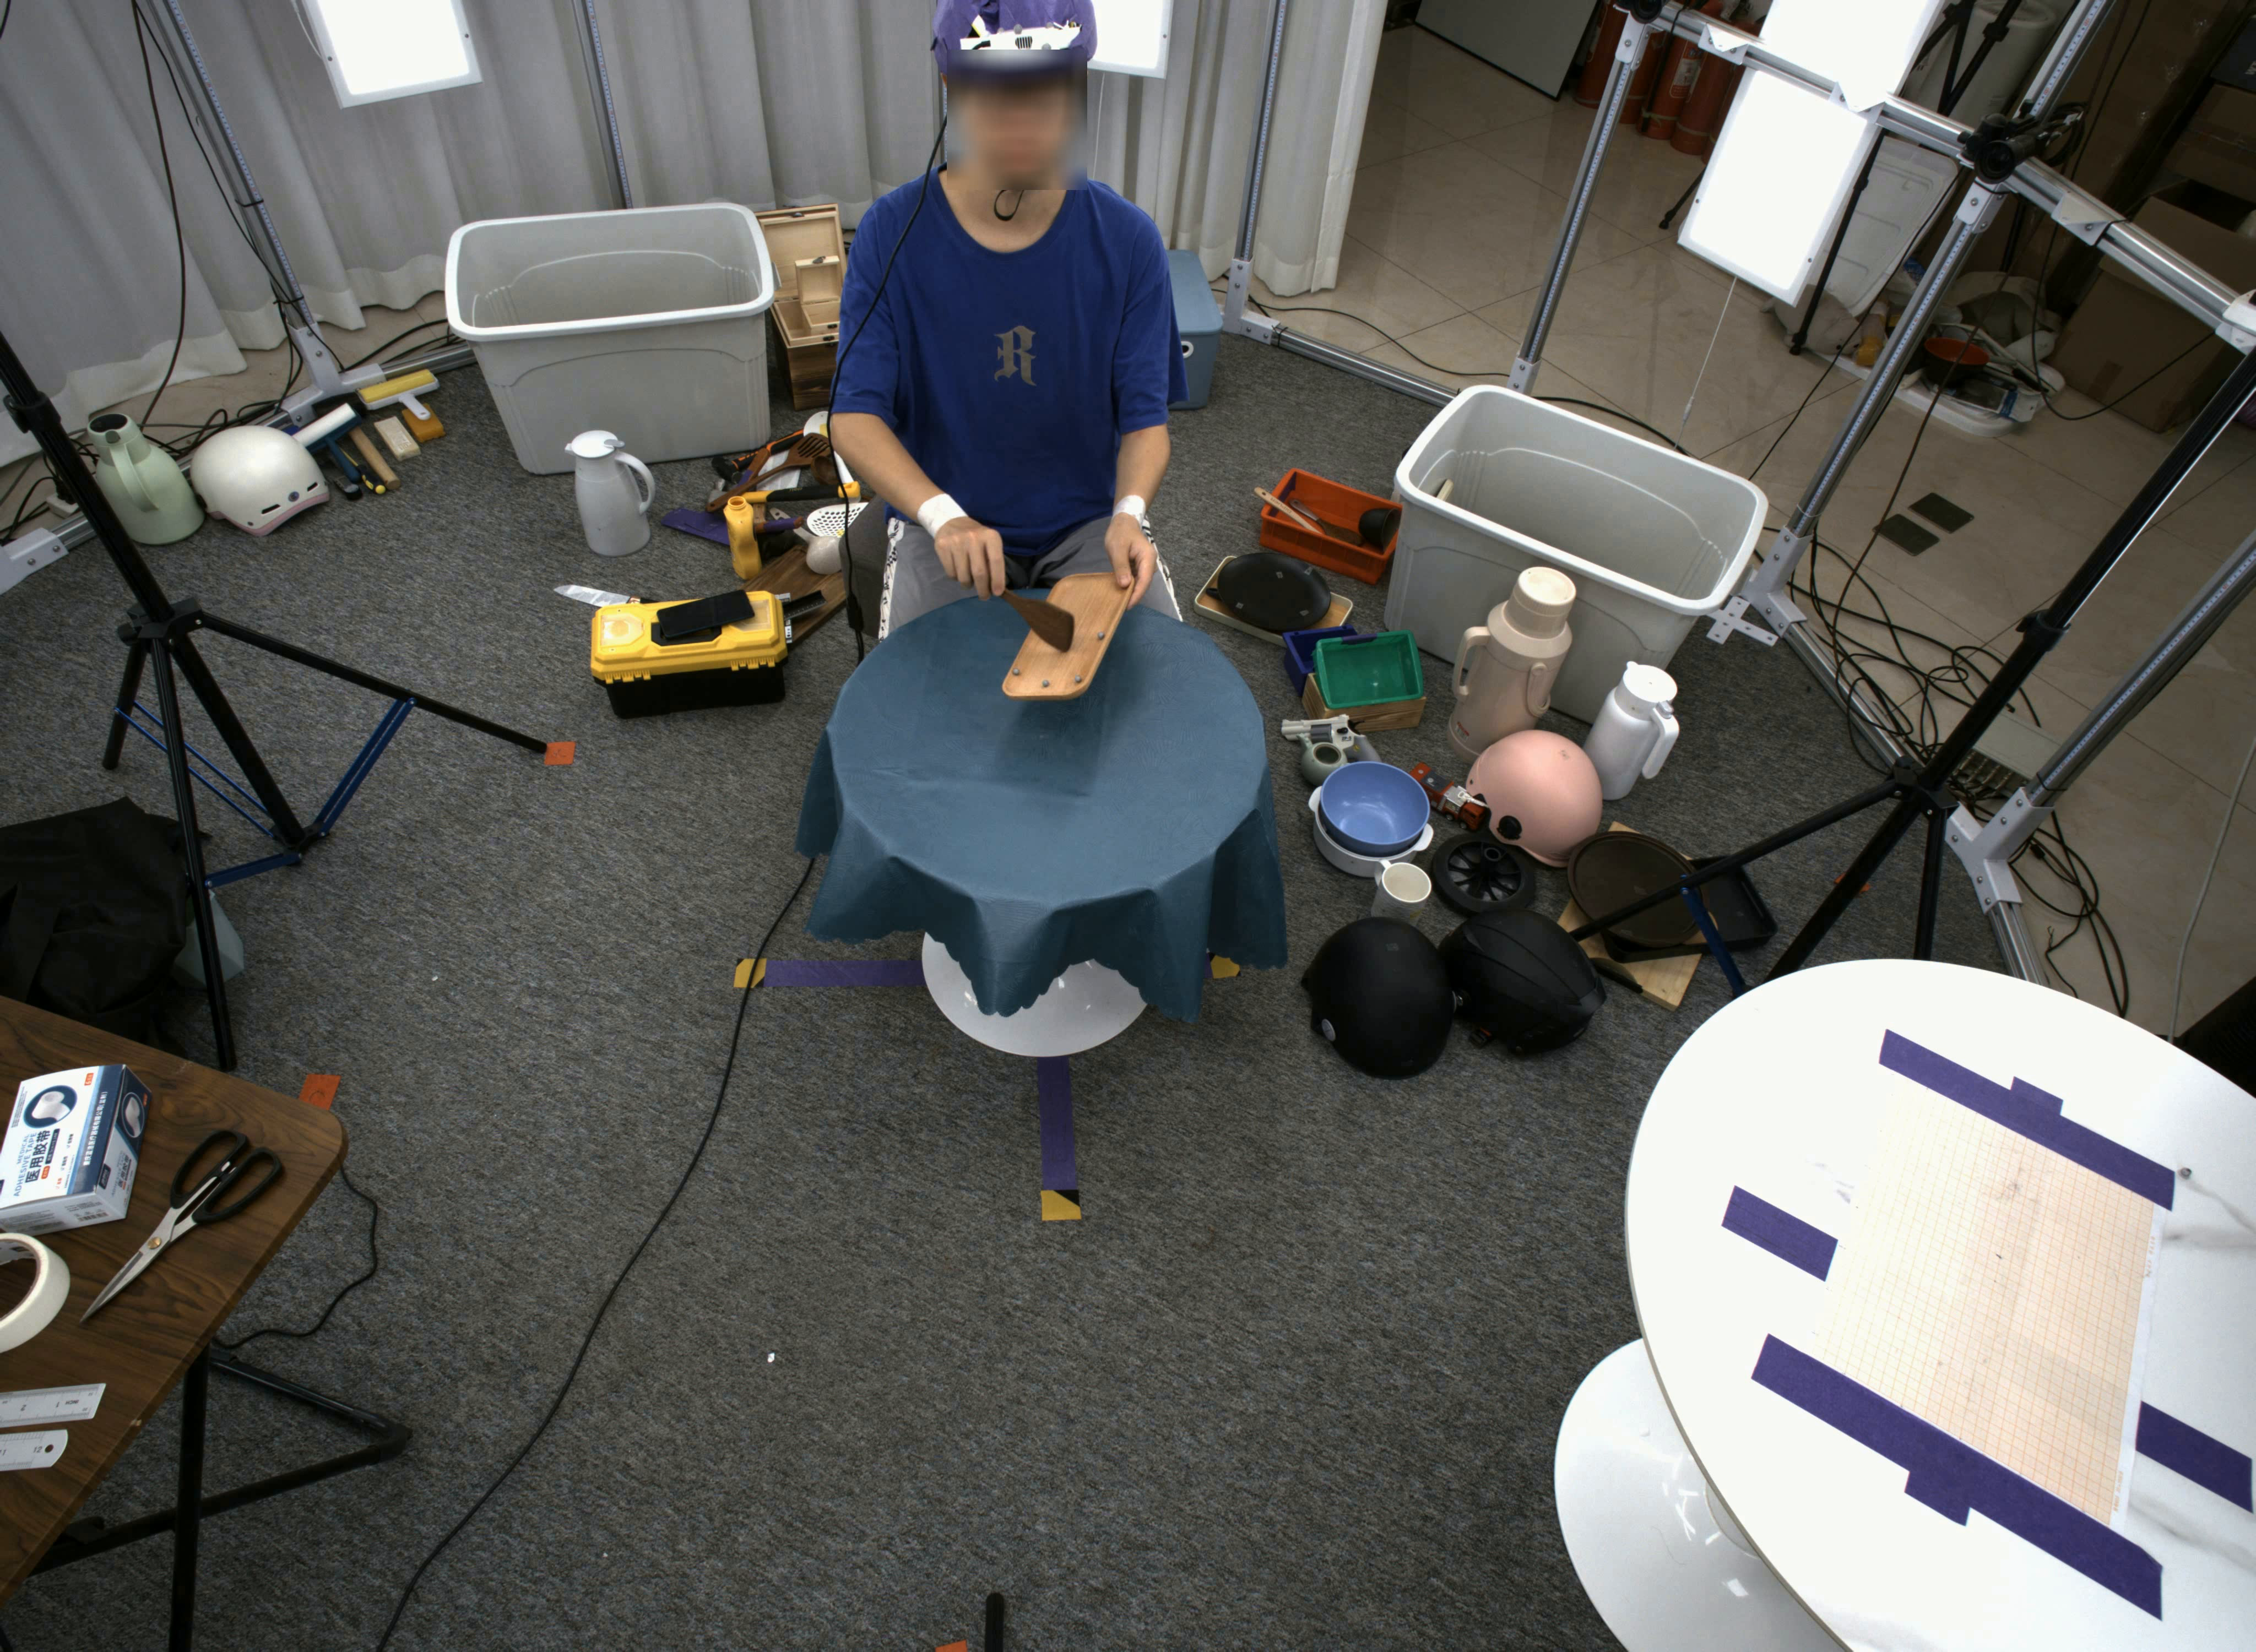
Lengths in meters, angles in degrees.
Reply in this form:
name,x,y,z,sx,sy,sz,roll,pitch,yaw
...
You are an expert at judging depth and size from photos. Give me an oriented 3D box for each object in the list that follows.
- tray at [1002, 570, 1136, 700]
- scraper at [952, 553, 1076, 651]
name,x,y,z,sx,sy,sz,roll,pitch,yaw
tray,-0.077,-0.262,1.749,0.131,0.022,0.256,4,50,25
scraper,-0.156,-0.308,1.728,0.213,0.074,0.011,34,56,19
